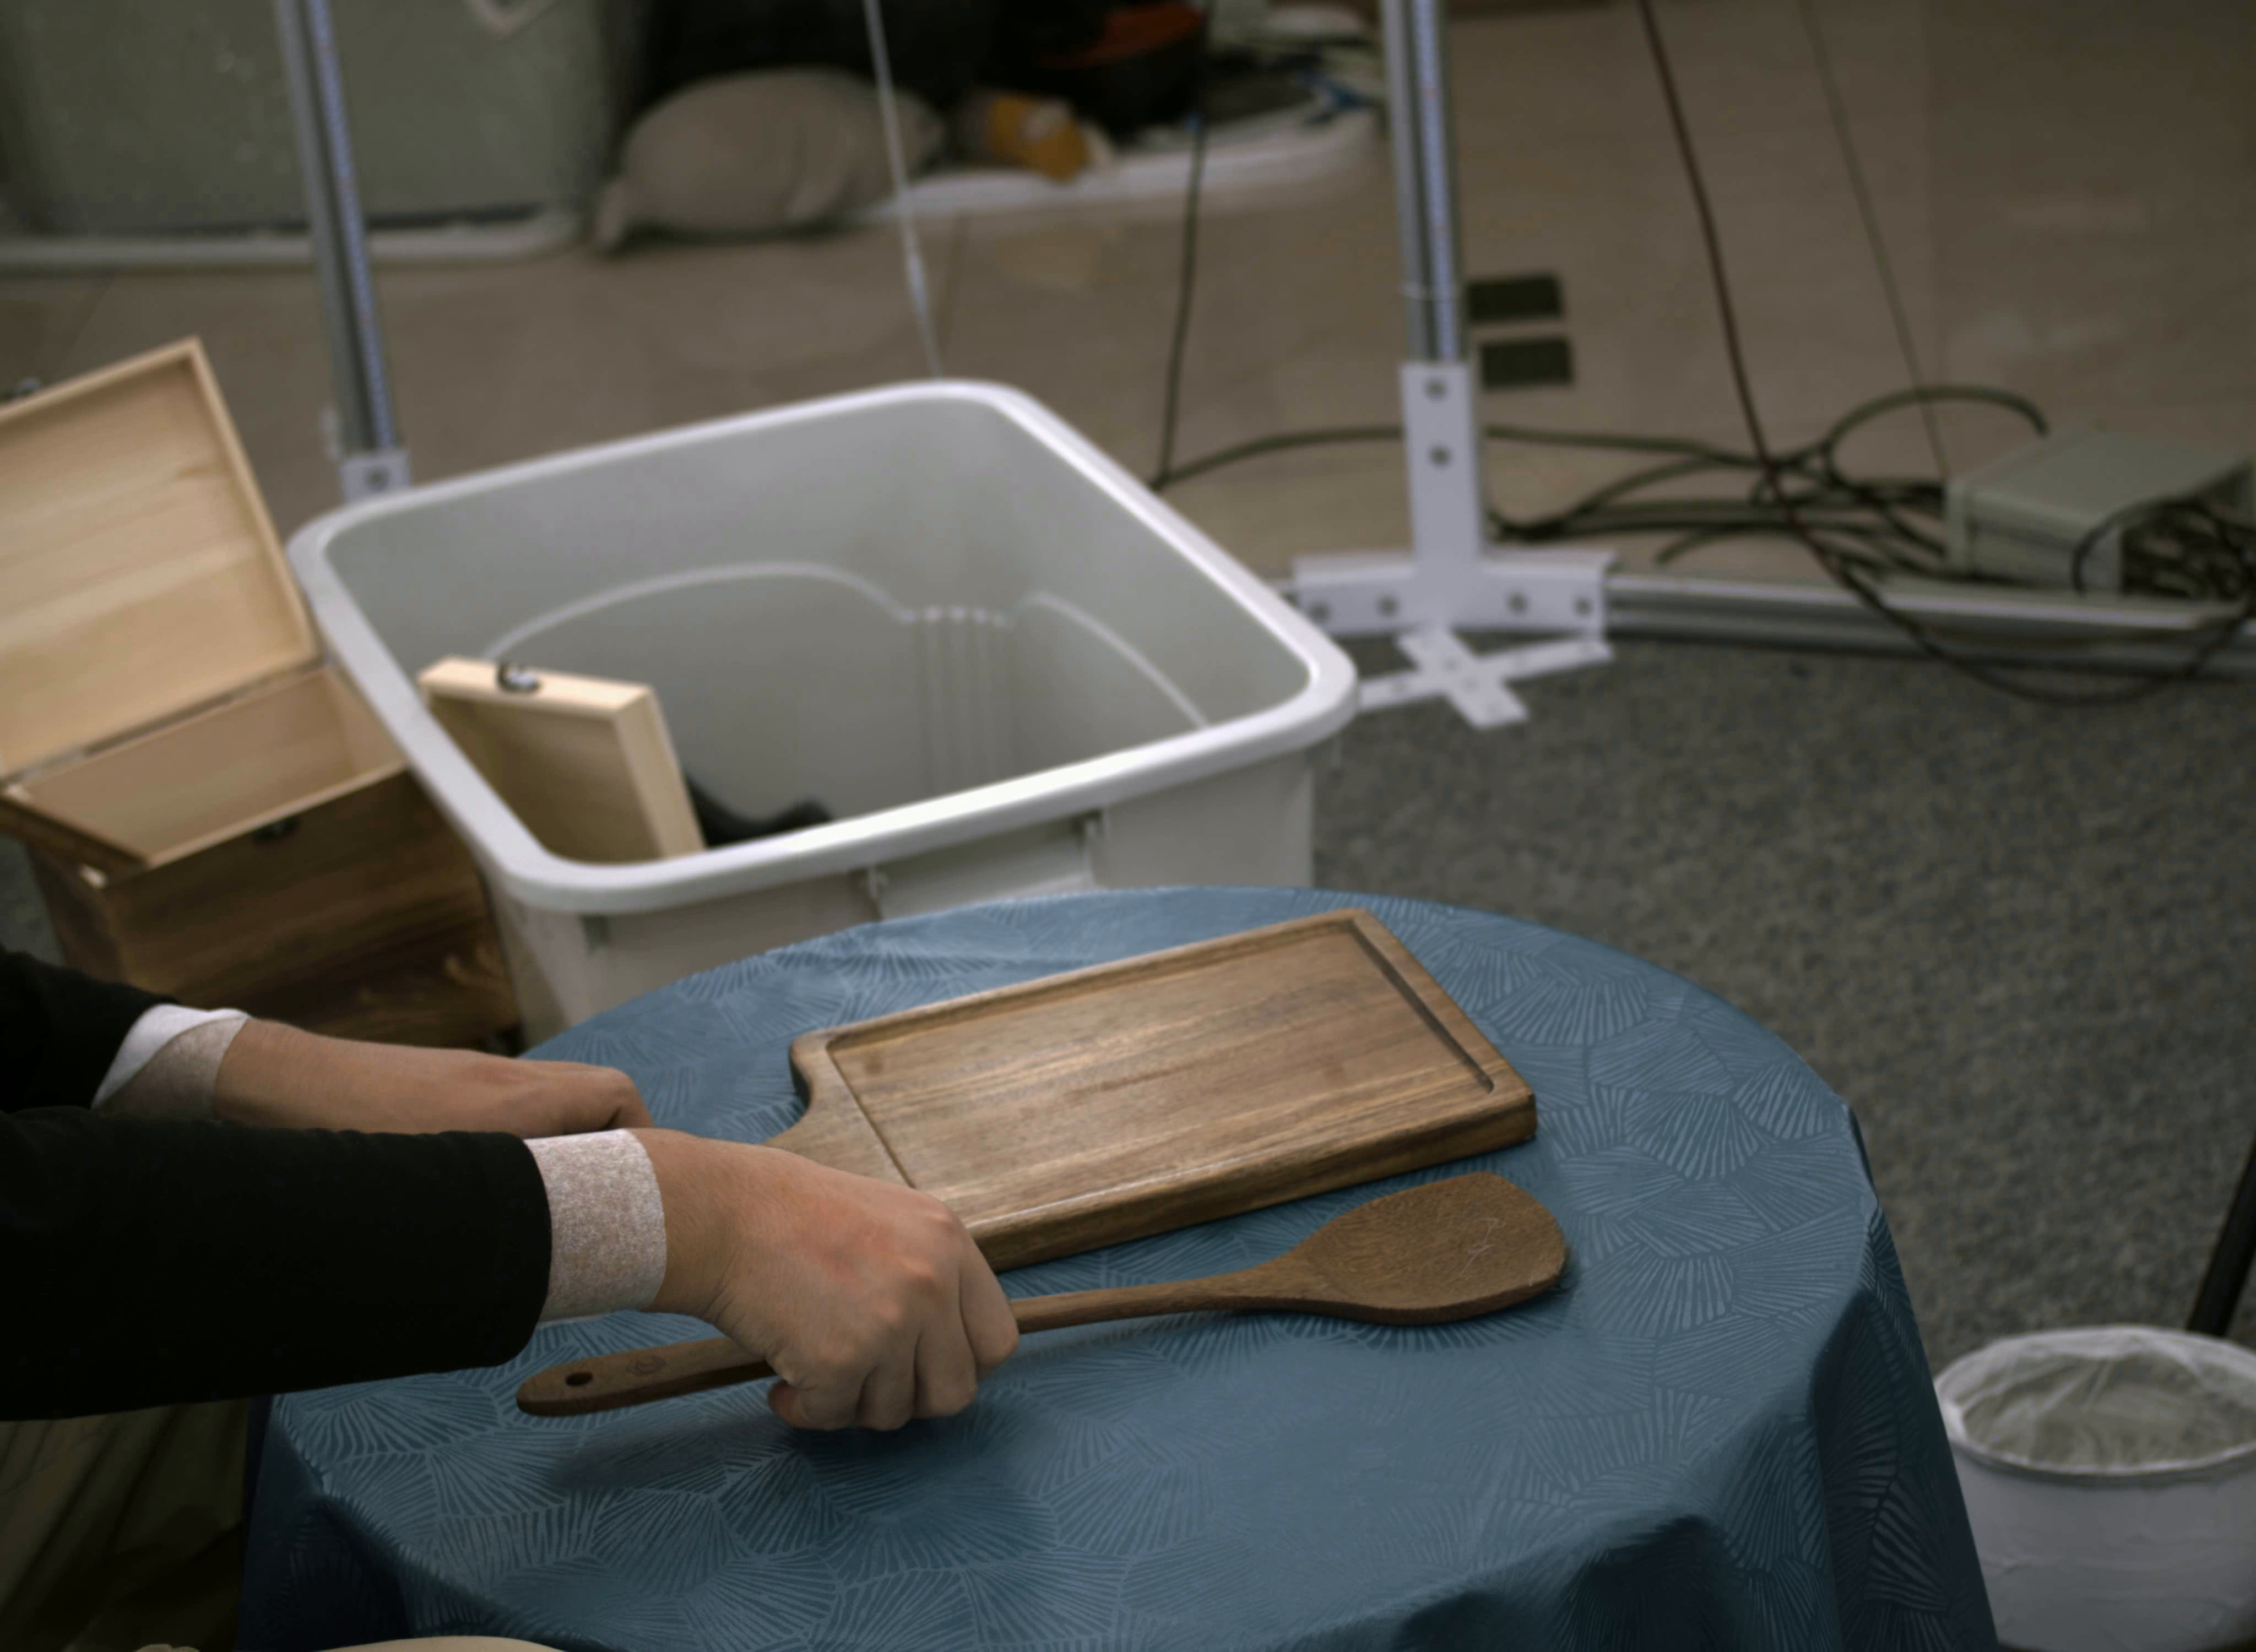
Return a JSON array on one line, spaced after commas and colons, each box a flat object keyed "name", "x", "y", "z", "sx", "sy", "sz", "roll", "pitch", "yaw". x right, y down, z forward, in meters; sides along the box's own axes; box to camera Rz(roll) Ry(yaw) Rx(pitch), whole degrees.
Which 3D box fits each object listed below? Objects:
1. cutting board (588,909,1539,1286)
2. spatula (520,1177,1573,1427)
[{"name": "cutting board", "x": -0.037, "y": 0.112, "z": 2.191, "sx": 0.351, "sy": 0.023, "sz": 0.198, "roll": -13, "pitch": 25, "yaw": -14}, {"name": "spatula", "x": -0.028, "y": 0.176, "z": 2.040, "sx": 0.385, "sy": 0.016, "sz": 0.095, "roll": -8, "pitch": 24, "yaw": -12}]
